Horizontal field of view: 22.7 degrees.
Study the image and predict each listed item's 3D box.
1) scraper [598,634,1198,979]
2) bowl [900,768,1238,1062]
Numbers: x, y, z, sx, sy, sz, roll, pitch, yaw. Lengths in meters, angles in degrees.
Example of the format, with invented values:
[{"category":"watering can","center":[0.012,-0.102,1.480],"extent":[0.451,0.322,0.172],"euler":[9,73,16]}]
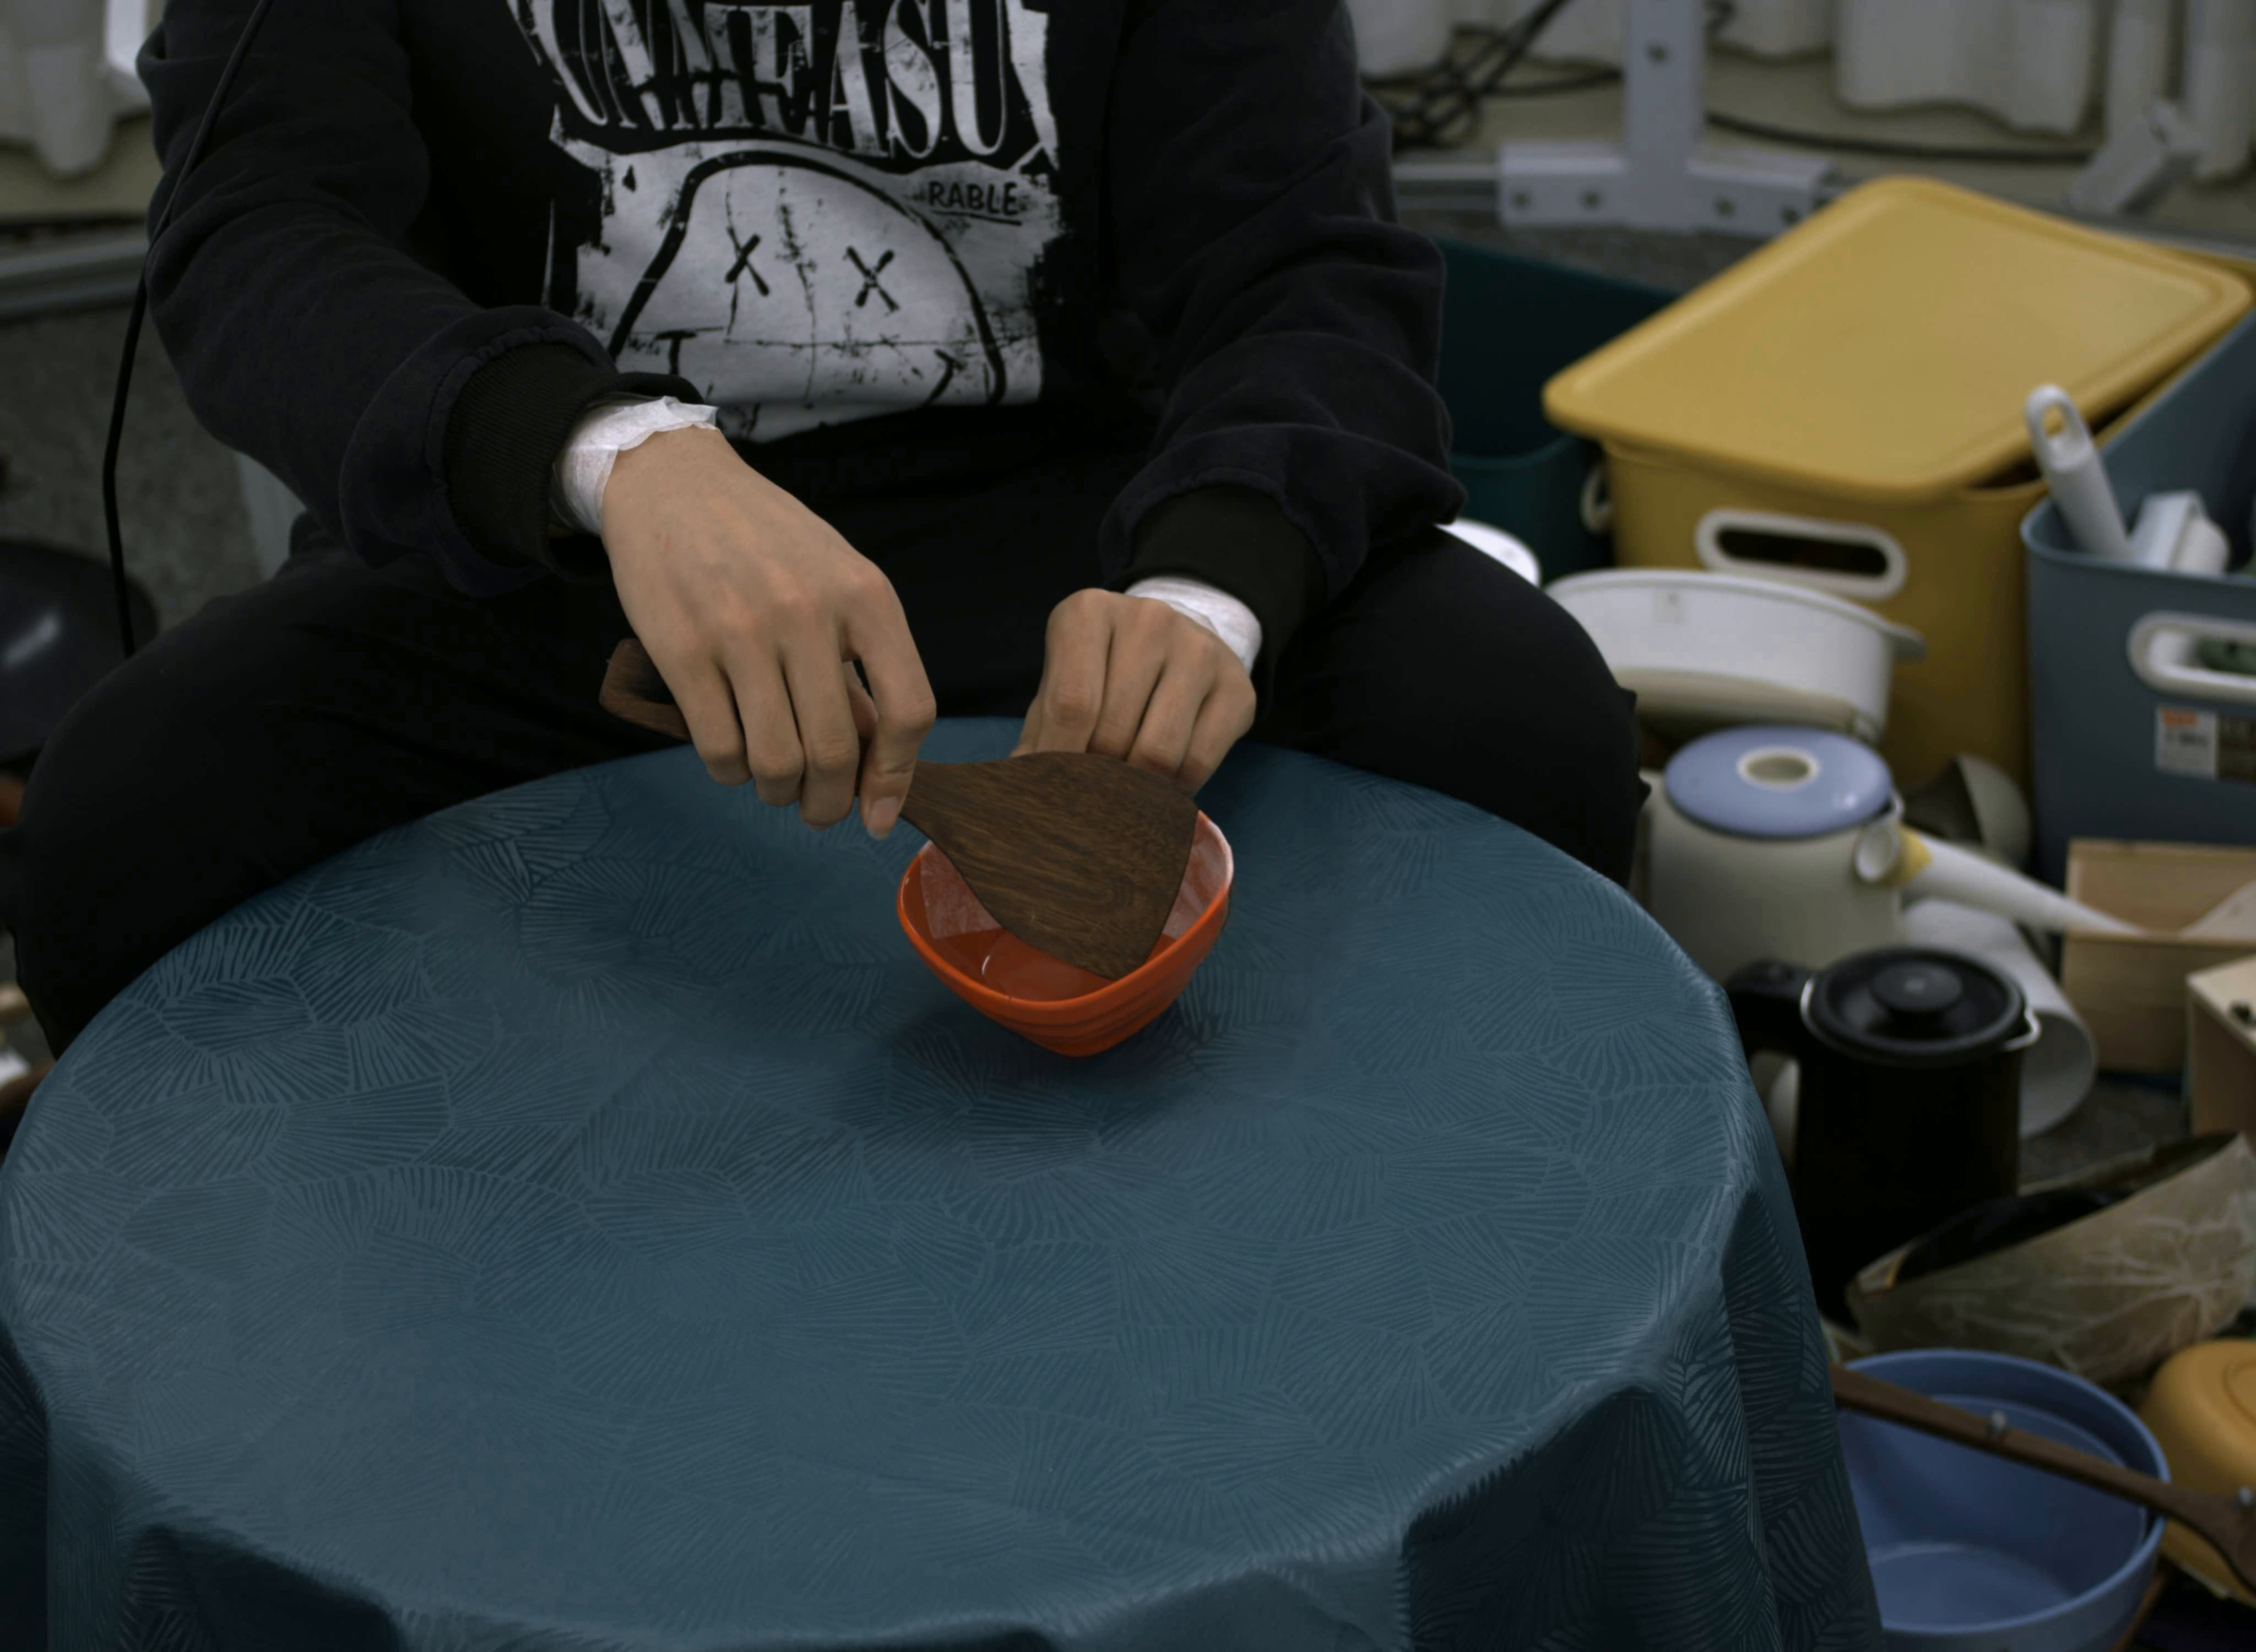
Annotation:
[{"category":"scraper","center":[-0.080,-0.016,1.918],"extent":[0.210,0.076,0.011],"euler":[22,-10,-6]},{"category":"bowl","center":[-0.017,0.037,1.954],"extent":[0.118,0.050,0.121],"euler":[-7,44,7]}]
